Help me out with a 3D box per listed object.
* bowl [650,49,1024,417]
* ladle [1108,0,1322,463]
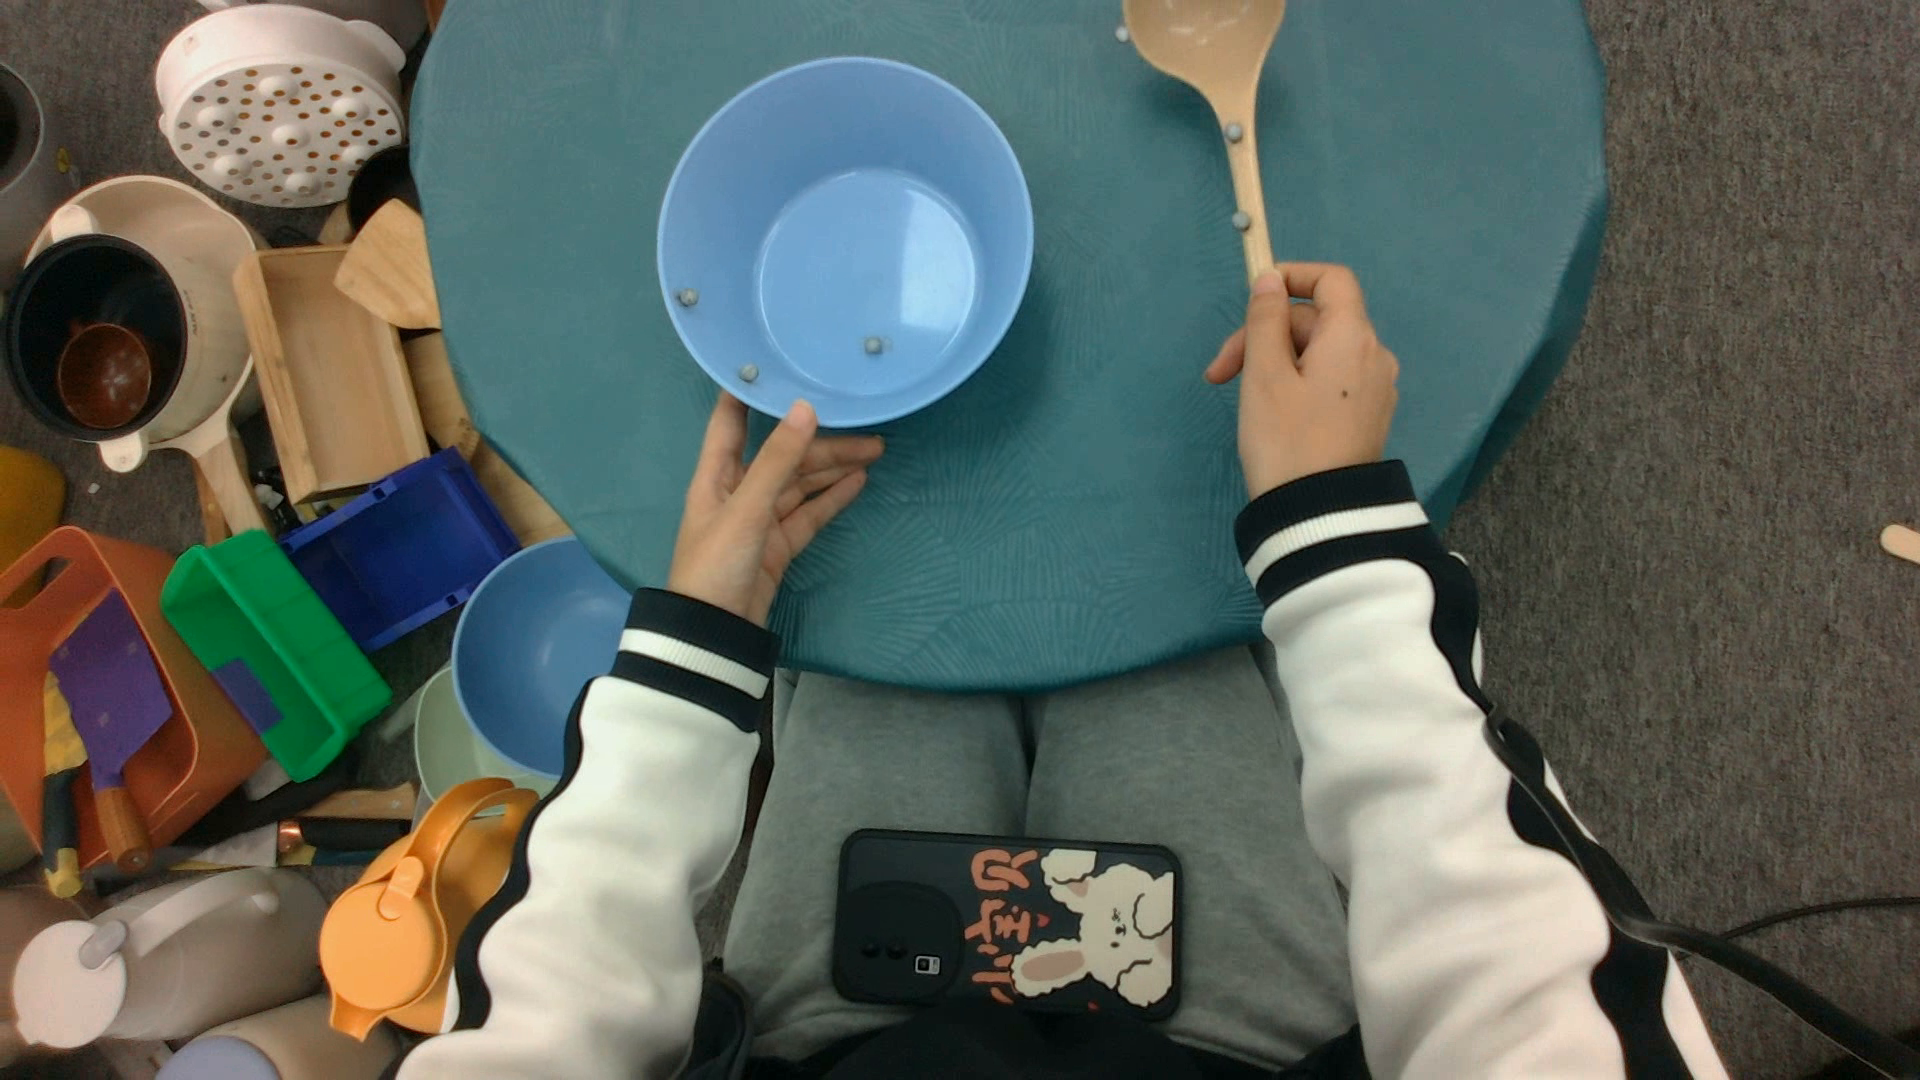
[{"bbox_3d":[-0.054,-0.139,0.663,0.176,0.070,0.176,-1,82,7],"label":"bowl"},{"bbox_3d":[0.118,-0.161,0.607,0.072,0.073,0.255,-16,69,21],"label":"ladle"}]
